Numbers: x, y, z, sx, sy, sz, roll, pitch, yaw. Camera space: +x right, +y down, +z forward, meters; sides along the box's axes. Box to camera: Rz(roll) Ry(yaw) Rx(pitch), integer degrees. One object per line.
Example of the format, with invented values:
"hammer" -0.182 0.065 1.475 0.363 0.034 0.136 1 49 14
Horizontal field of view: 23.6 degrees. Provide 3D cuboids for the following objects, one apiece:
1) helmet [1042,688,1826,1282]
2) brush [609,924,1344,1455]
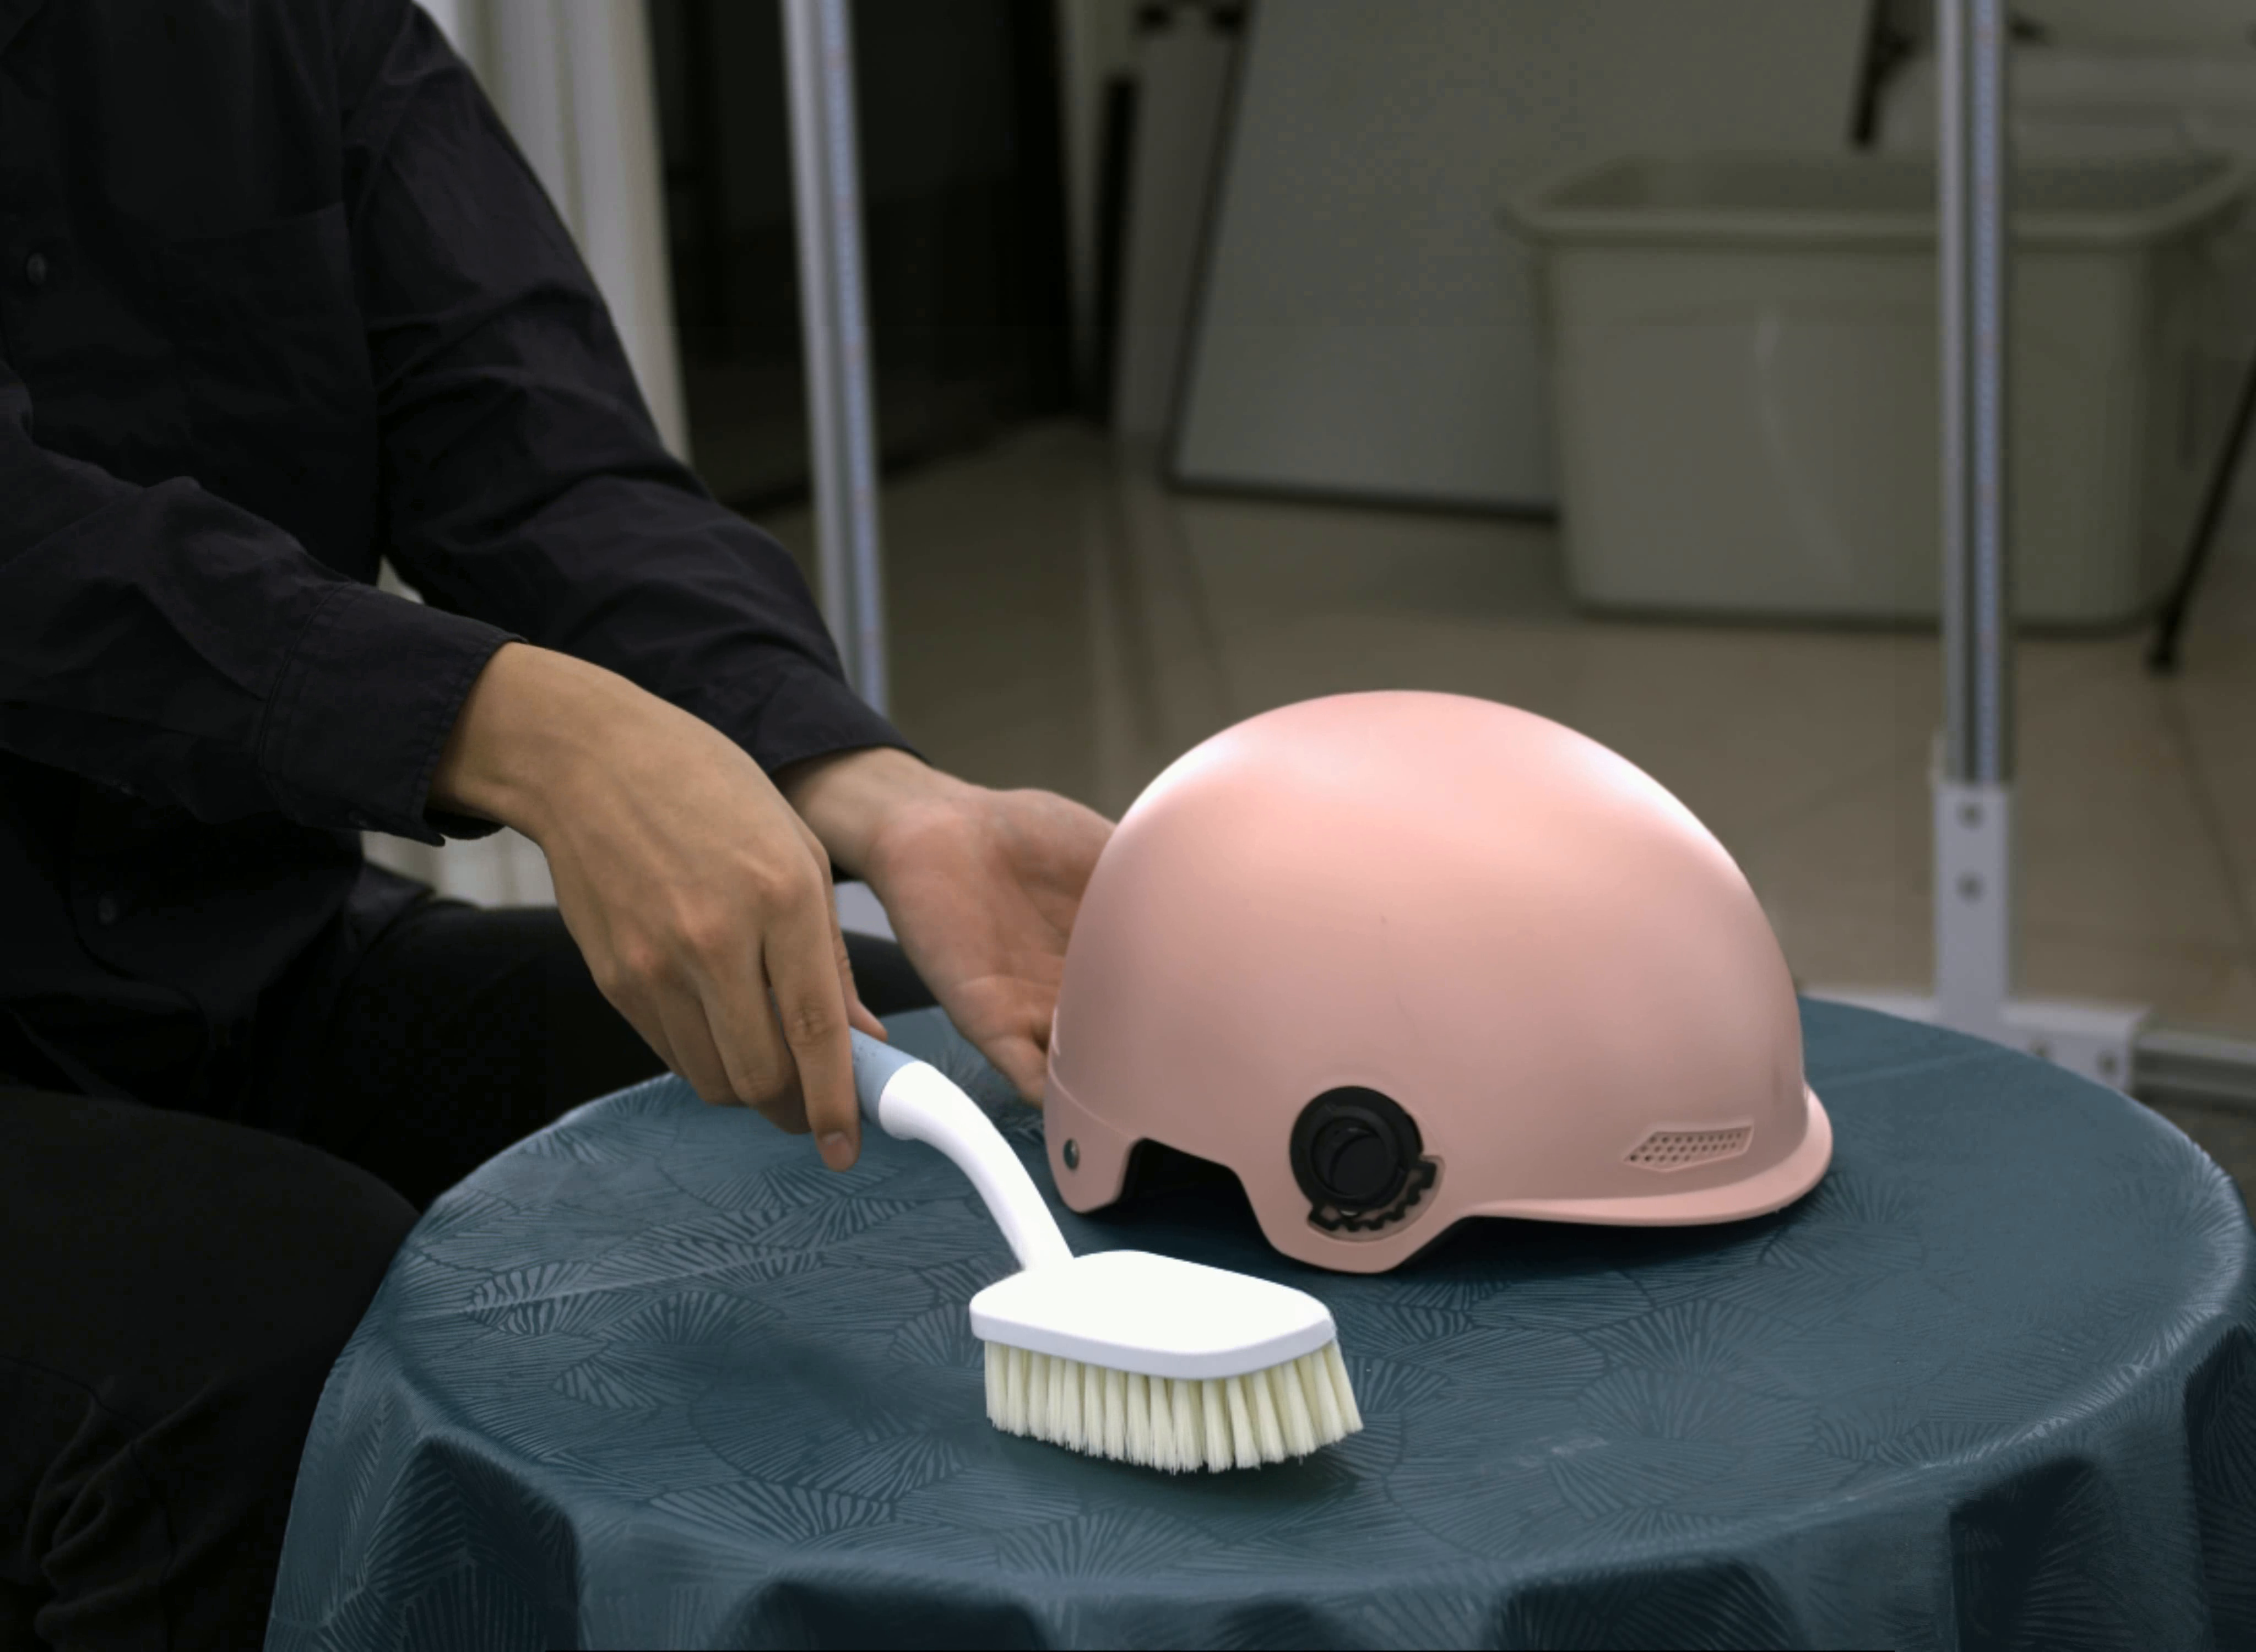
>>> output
"helmet" 0.101 0.040 1.756 0.267 0.160 0.230 9 18 29
"brush" -0.051 0.121 1.617 0.329 0.085 0.082 24 -8 44
